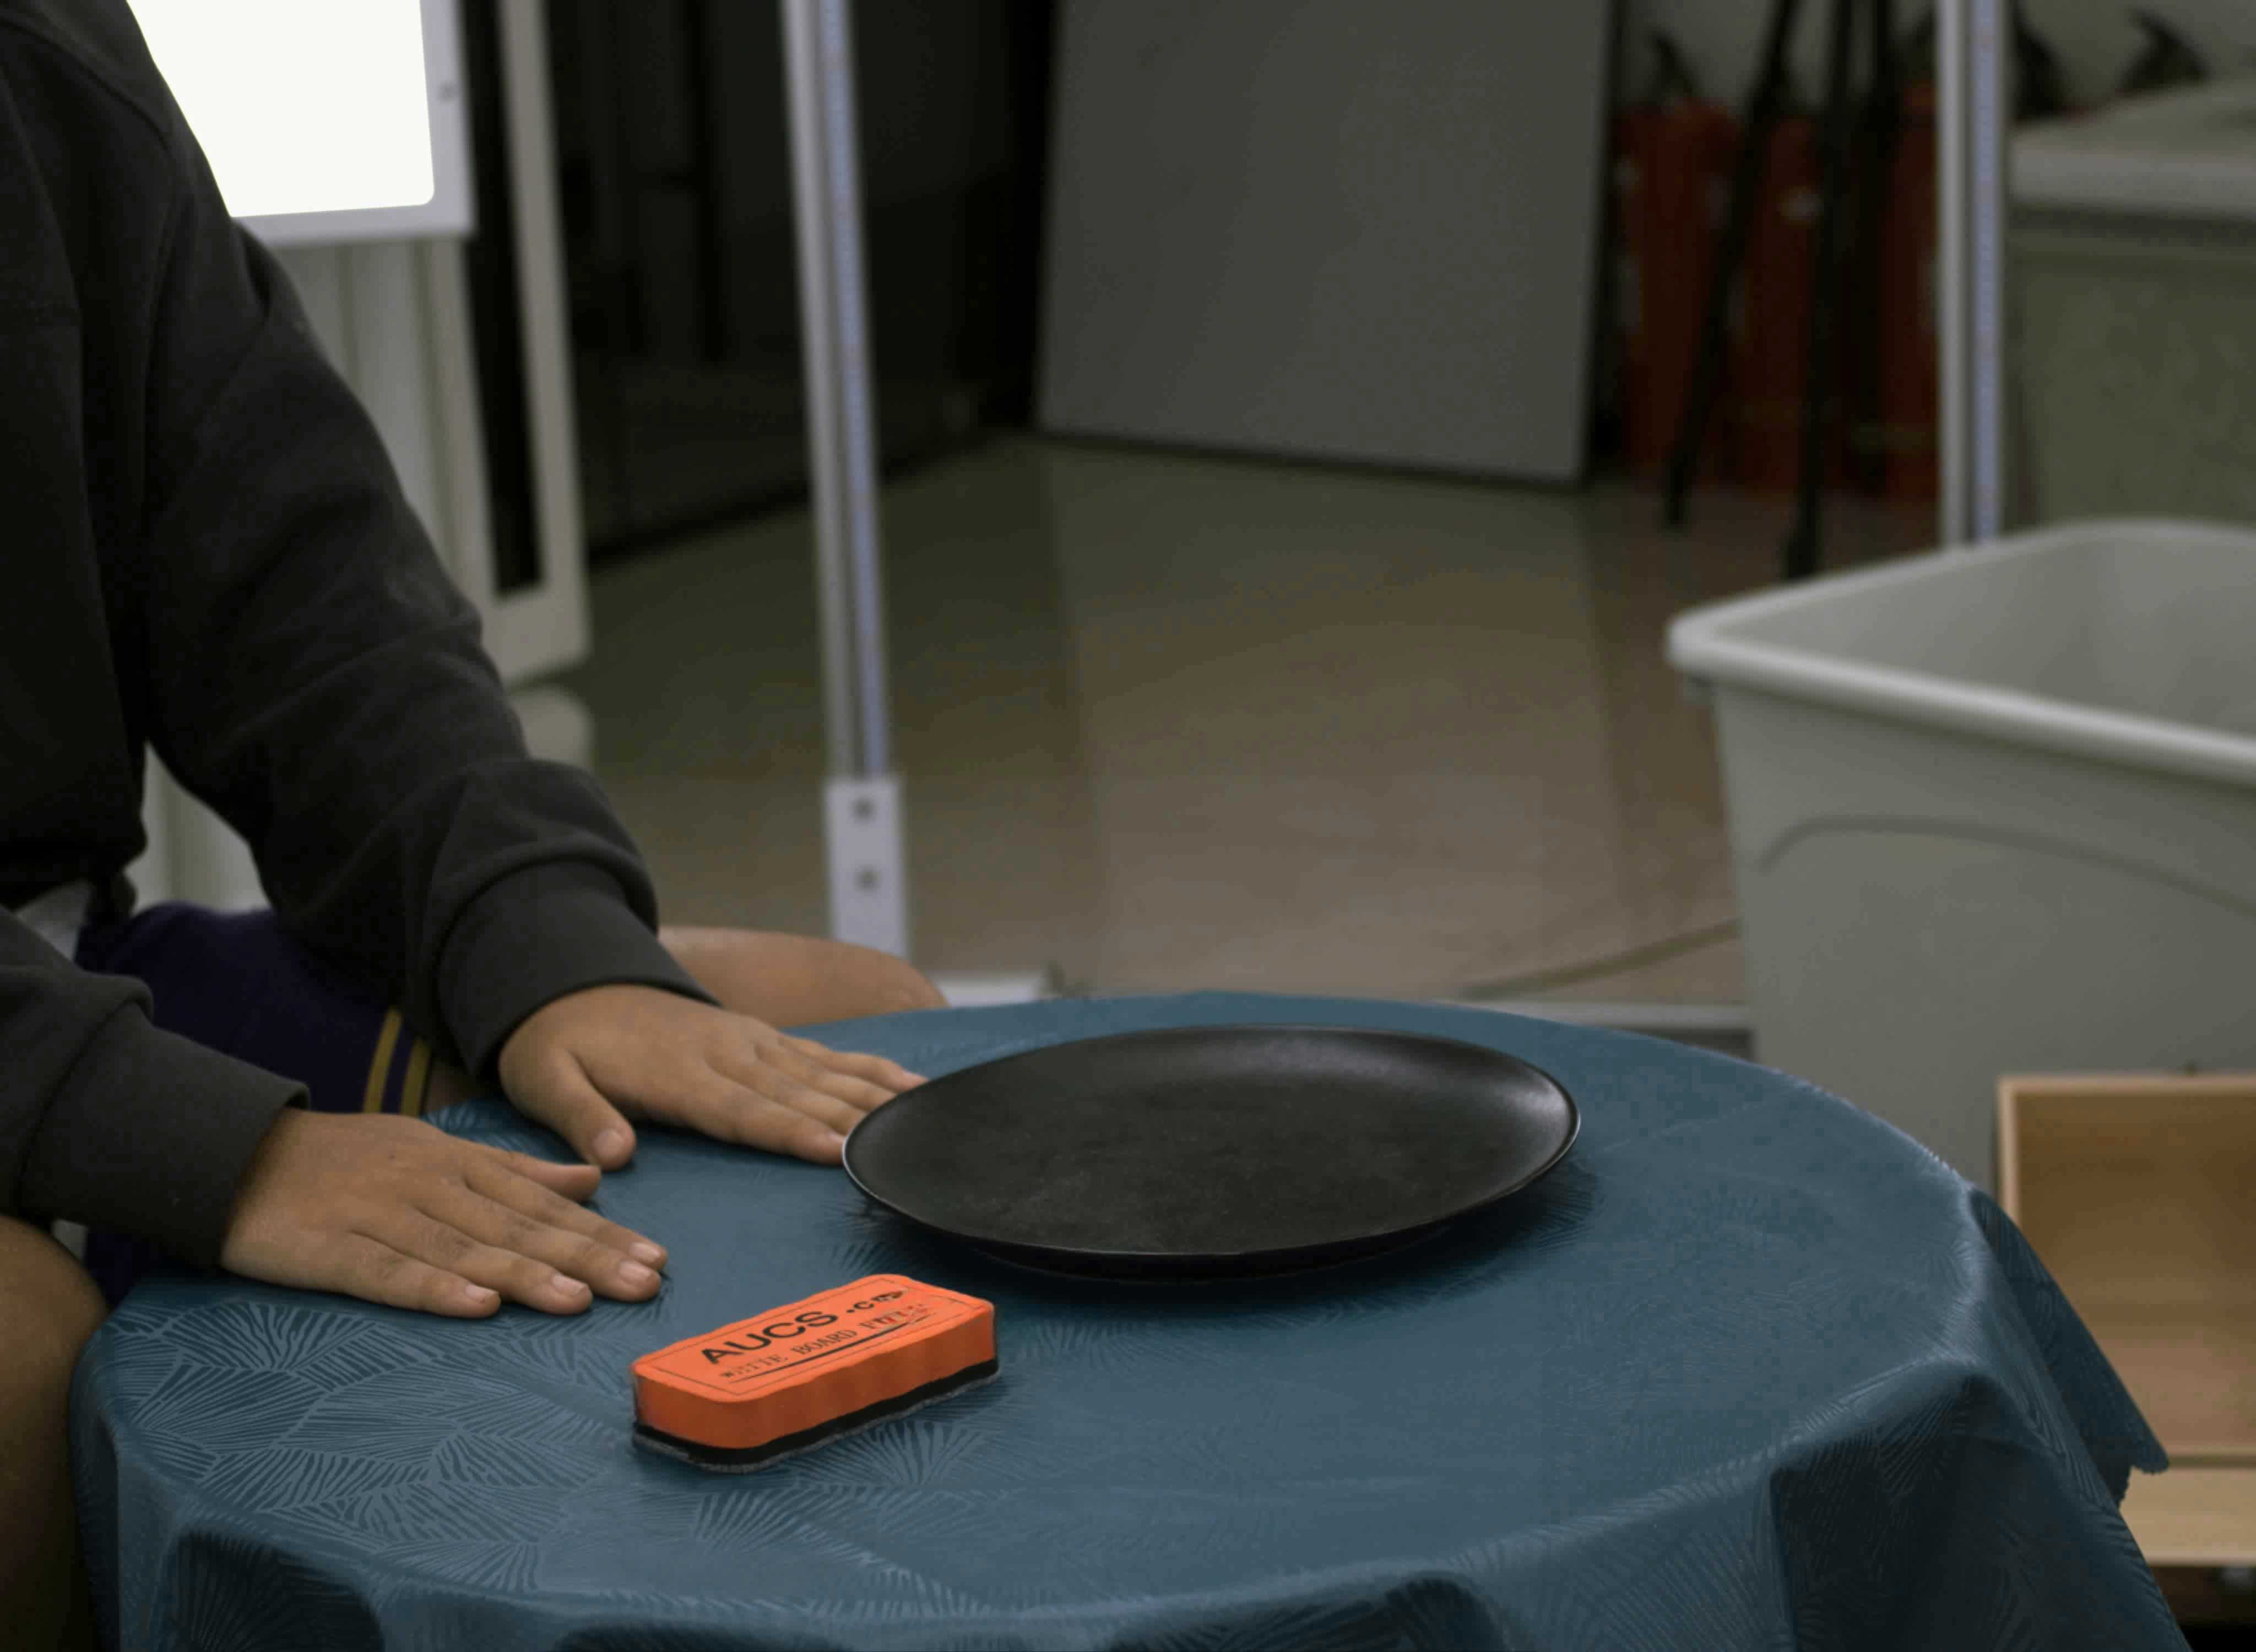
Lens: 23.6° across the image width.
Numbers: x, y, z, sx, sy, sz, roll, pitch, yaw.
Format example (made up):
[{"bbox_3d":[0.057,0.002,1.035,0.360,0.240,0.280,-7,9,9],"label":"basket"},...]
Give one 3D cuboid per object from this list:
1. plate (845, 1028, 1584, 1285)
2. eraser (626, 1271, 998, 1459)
[{"bbox_3d":[0.028,0.110,1.758,0.241,0.024,0.245,-4,13,0],"label":"plate"},{"bbox_3d":[-0.092,0.157,1.584,0.106,0.023,0.059,-14,17,-42],"label":"eraser"}]
